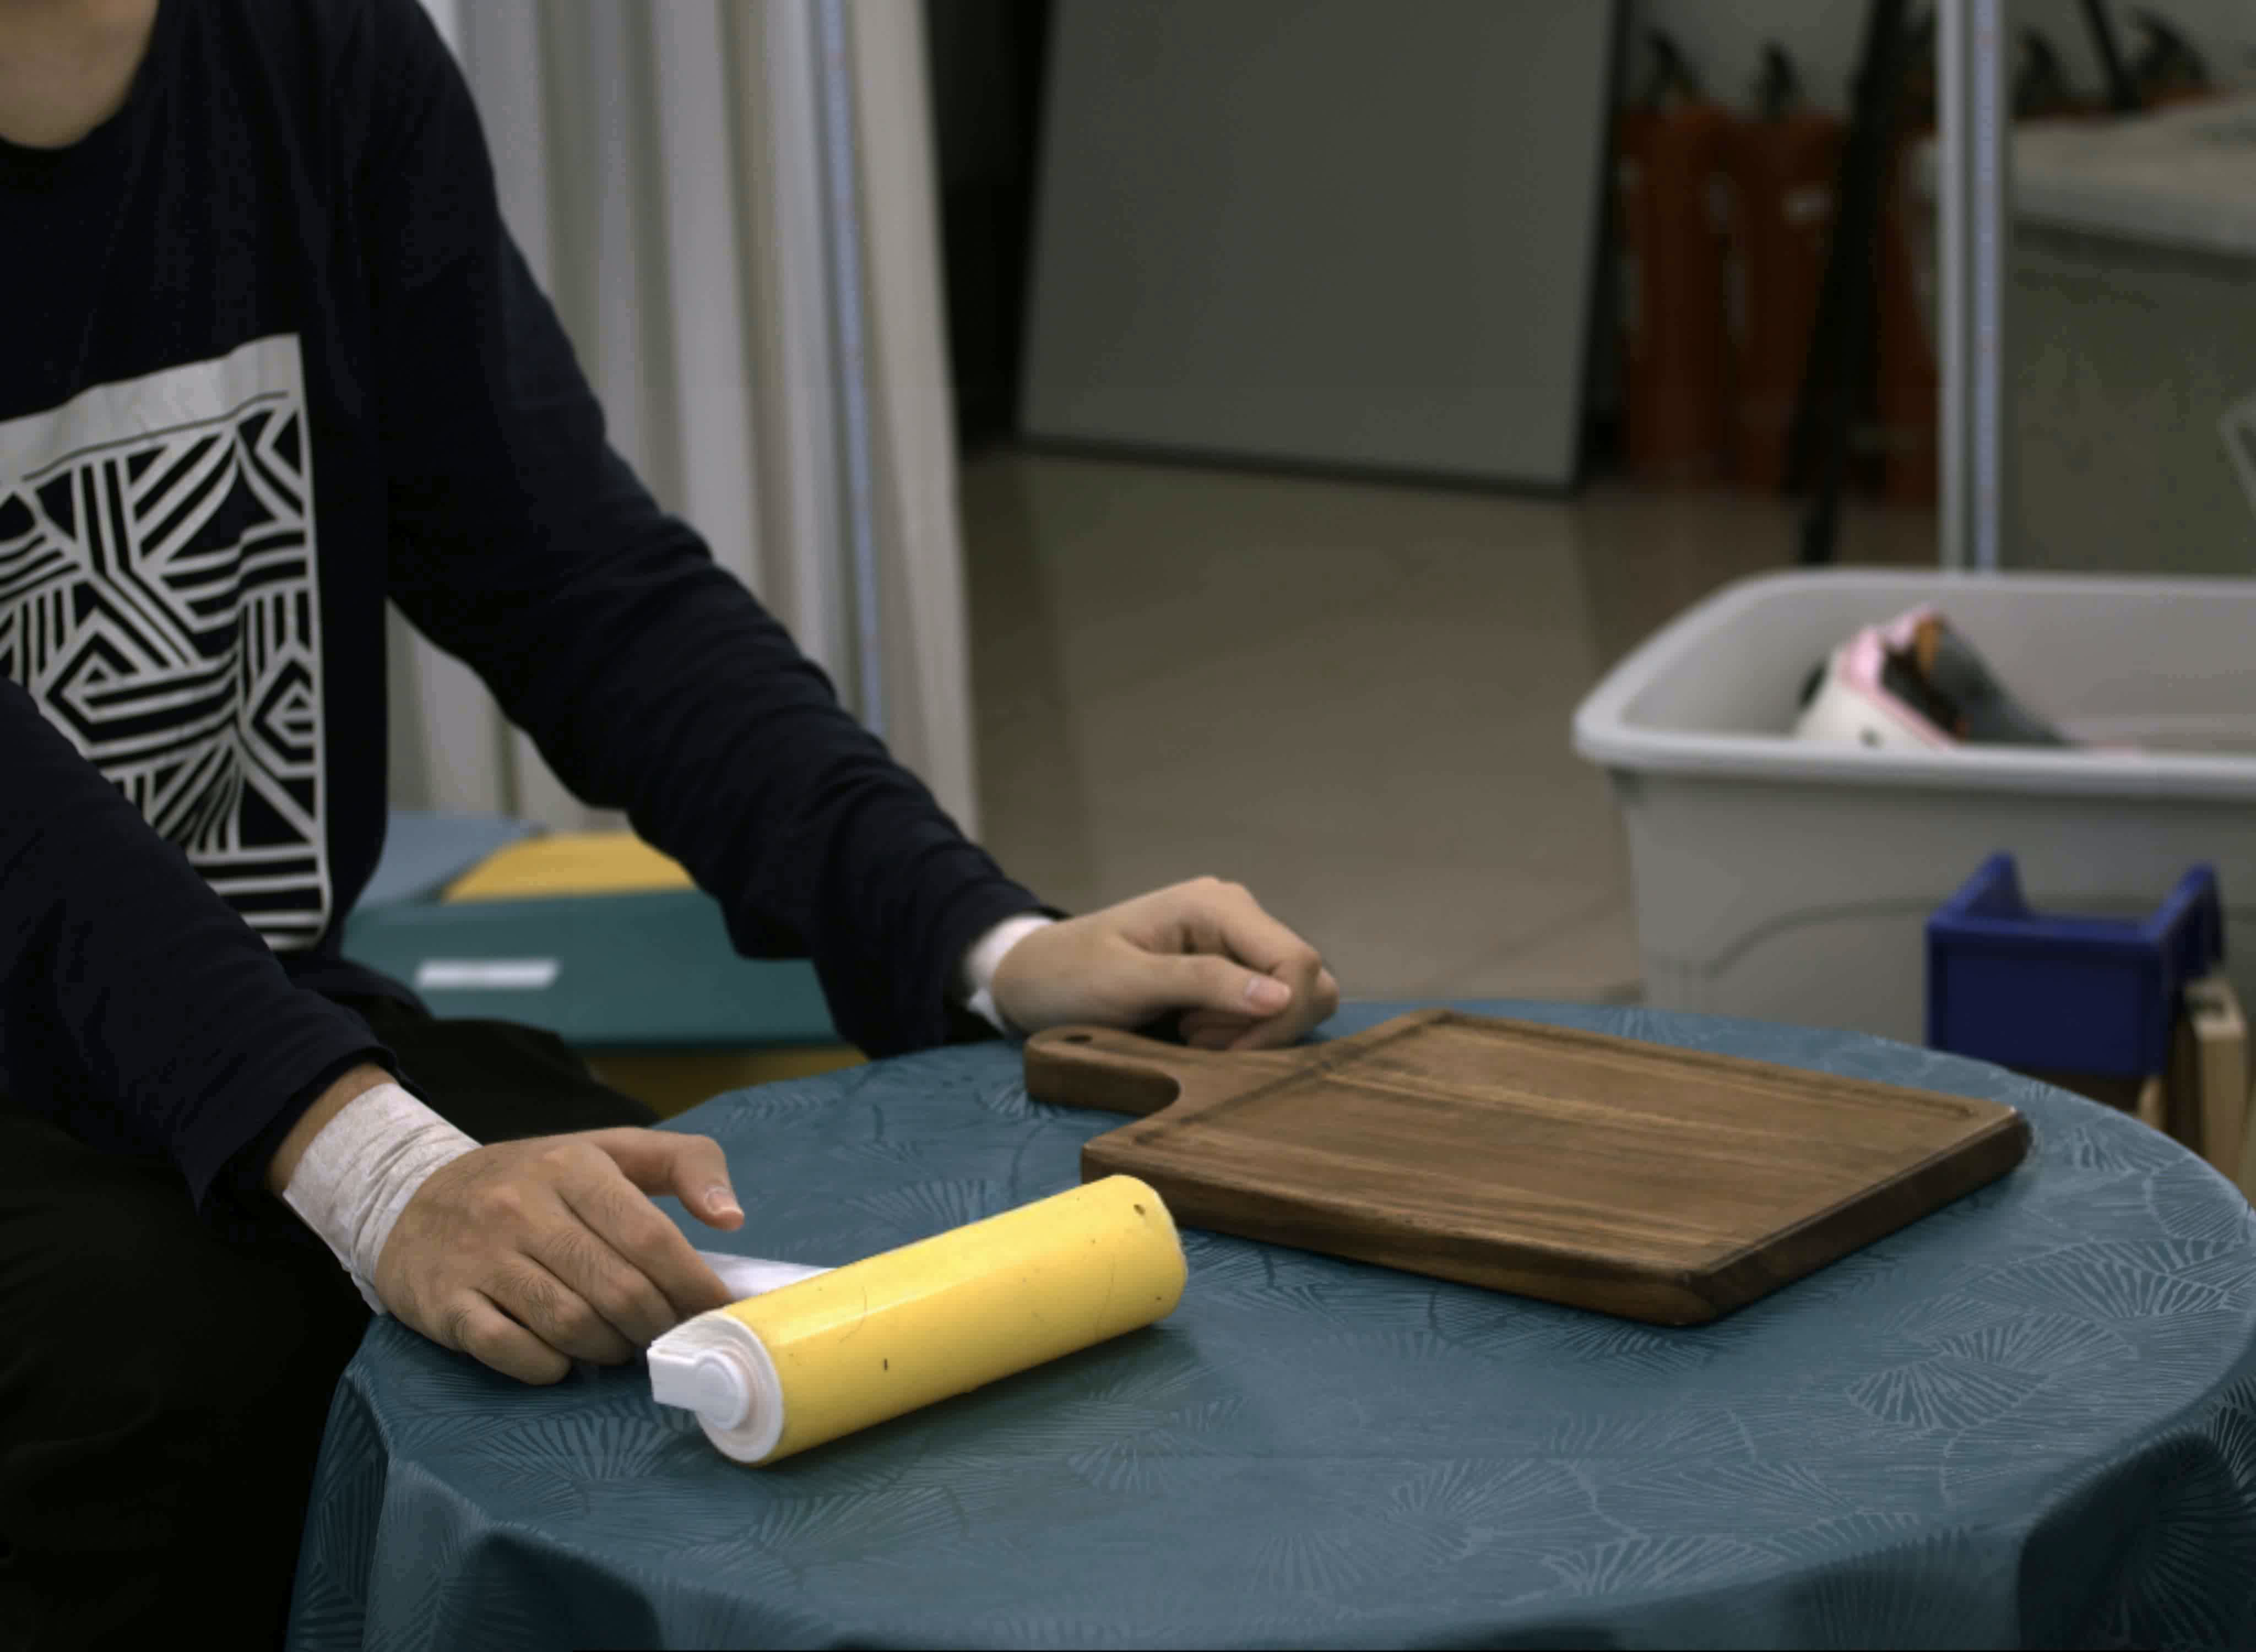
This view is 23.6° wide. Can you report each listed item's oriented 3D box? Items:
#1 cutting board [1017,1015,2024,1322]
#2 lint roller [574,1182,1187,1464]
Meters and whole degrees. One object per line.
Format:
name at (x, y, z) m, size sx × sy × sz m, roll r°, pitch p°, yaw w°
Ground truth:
cutting board at (0.100, 0.102, 1.781) m, size 0.355 × 0.023 × 0.197 m, roll 7°, pitch 17°, yaw 41°
lint roller at (-0.104, 0.135, 1.642) m, size 0.170 × 0.052 × 0.194 m, roll -15°, pitch 20°, yaw -41°
